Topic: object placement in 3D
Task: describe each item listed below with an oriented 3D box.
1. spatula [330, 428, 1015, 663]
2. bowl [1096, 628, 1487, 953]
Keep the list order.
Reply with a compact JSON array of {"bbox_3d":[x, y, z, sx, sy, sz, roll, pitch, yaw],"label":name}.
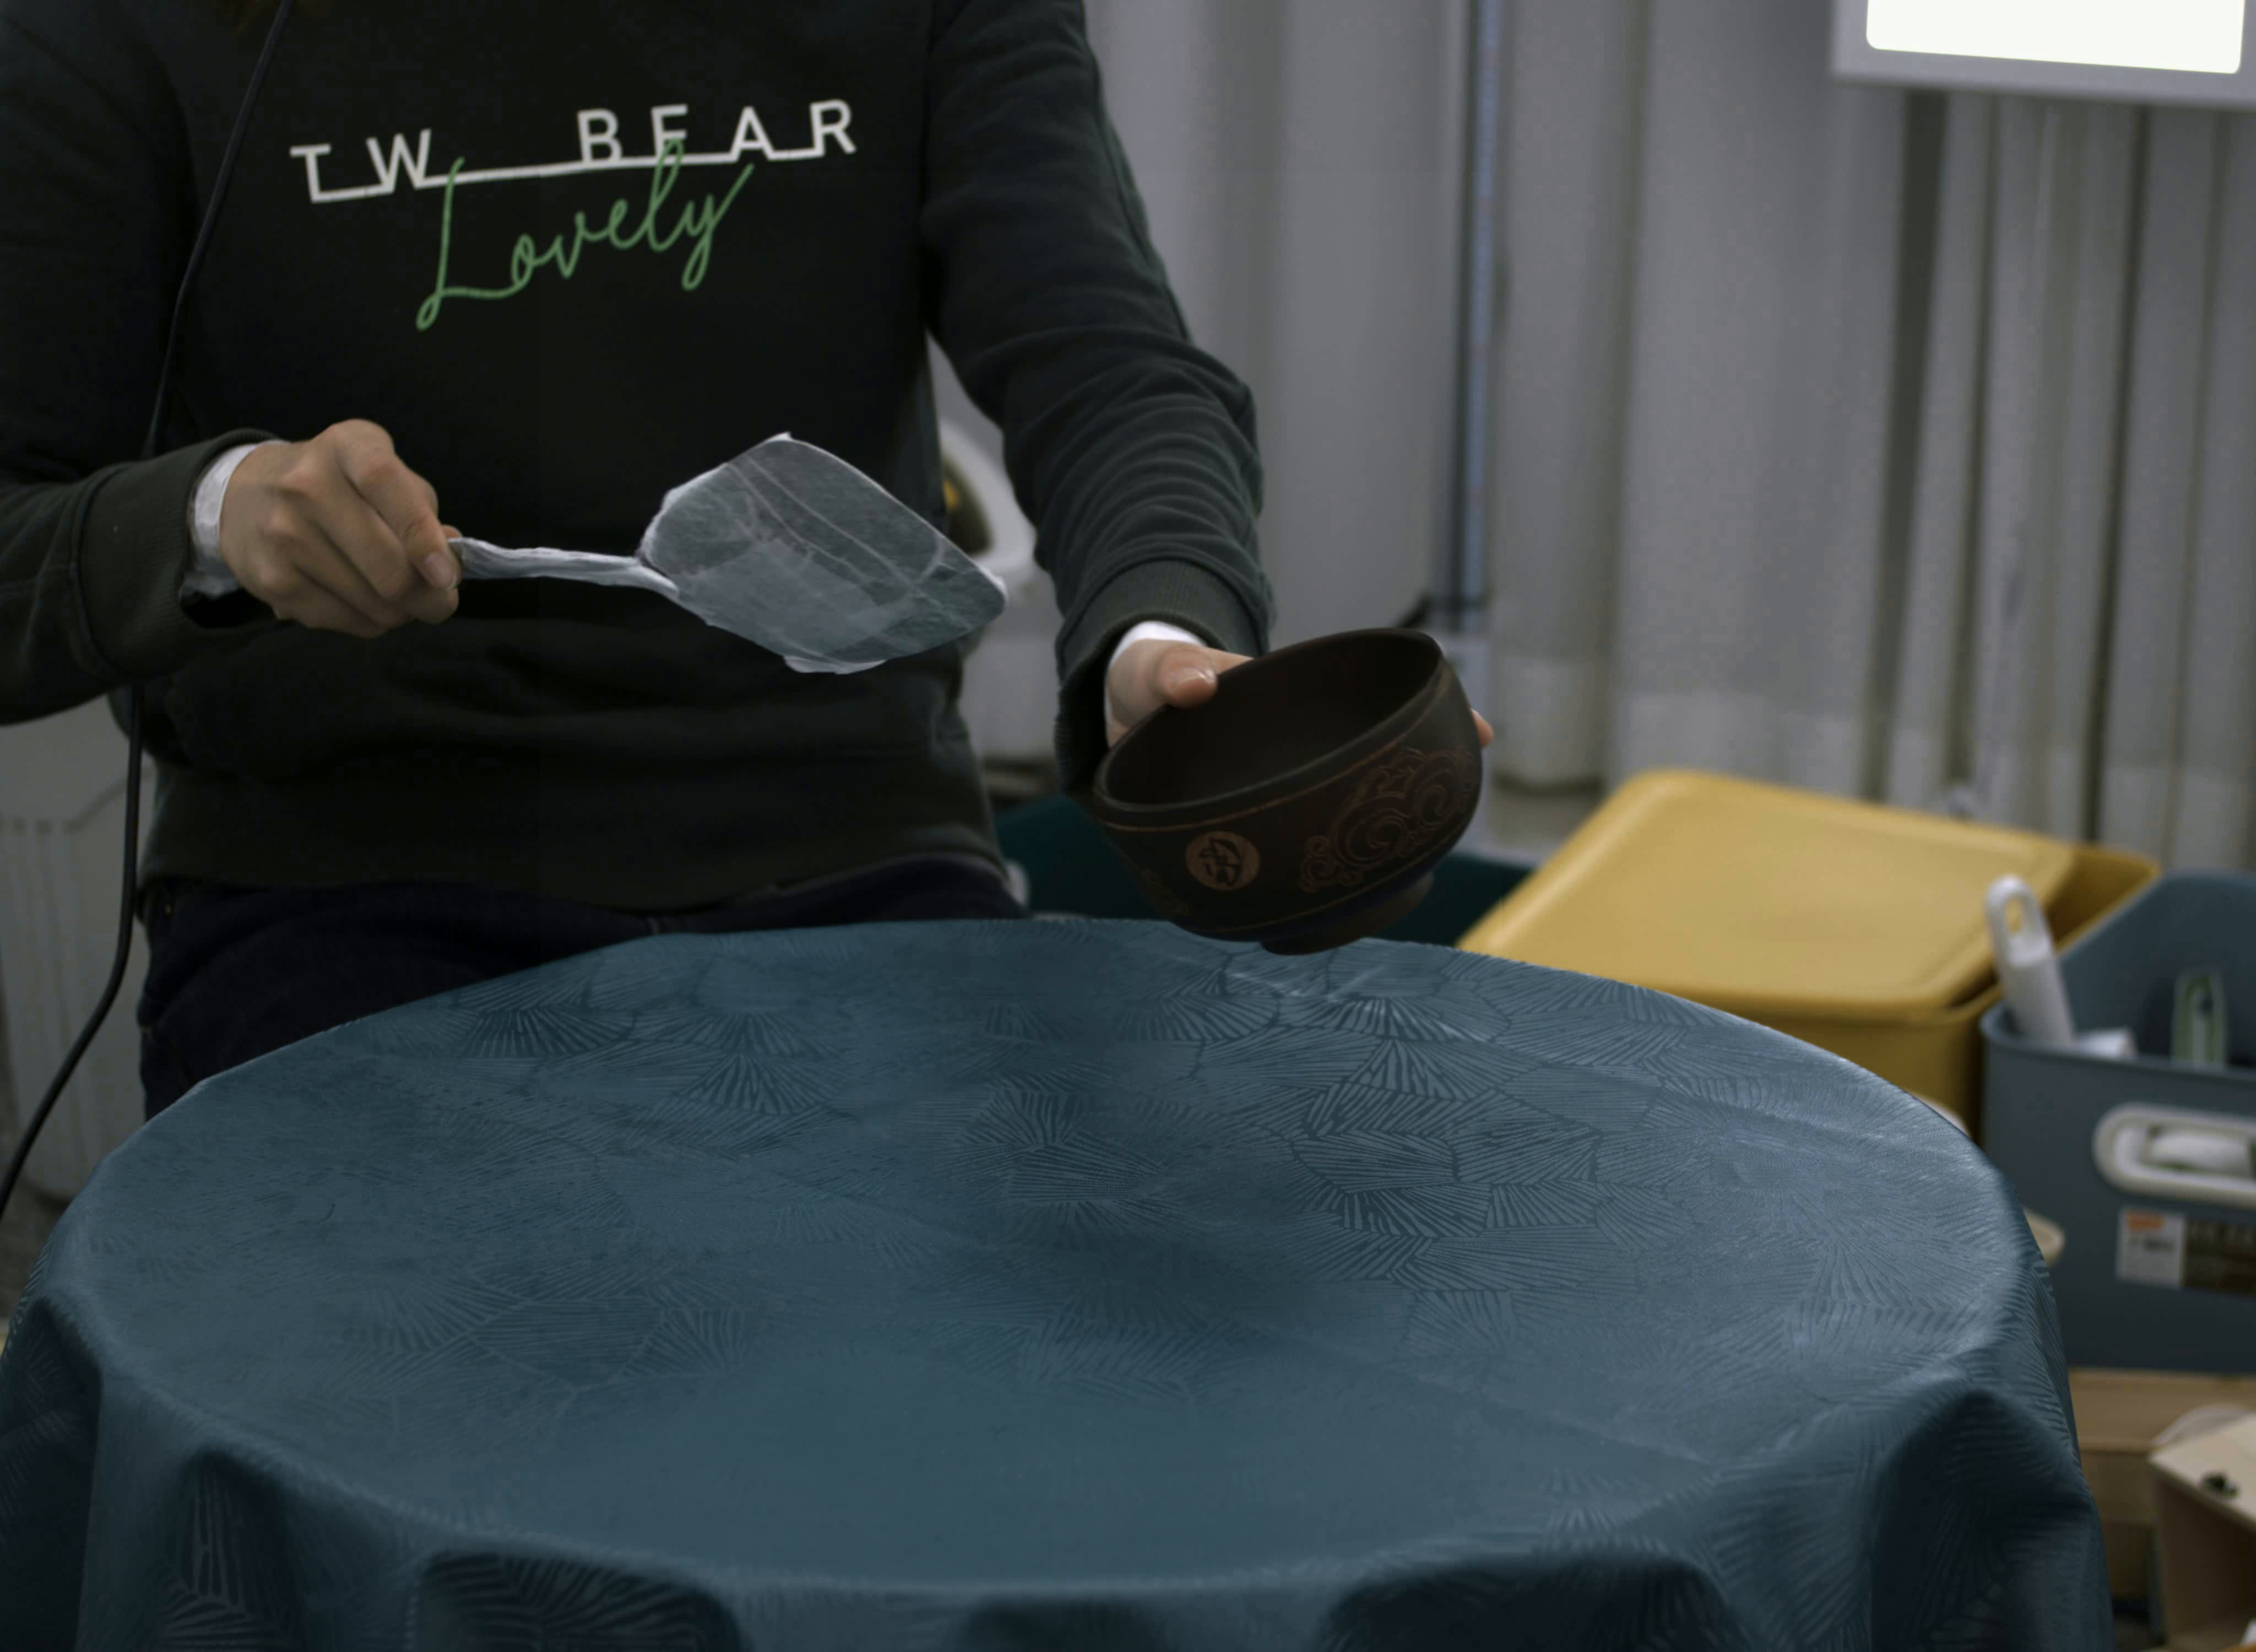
[{"bbox_3d":[-0.169,-0.084,1.683,0.100,0.045,0.361,34,-16,-31],"label":"spatula"},{"bbox_3d":[0.055,-0.004,1.609,0.117,0.070,0.117,-19,18,7],"label":"bowl"}]
